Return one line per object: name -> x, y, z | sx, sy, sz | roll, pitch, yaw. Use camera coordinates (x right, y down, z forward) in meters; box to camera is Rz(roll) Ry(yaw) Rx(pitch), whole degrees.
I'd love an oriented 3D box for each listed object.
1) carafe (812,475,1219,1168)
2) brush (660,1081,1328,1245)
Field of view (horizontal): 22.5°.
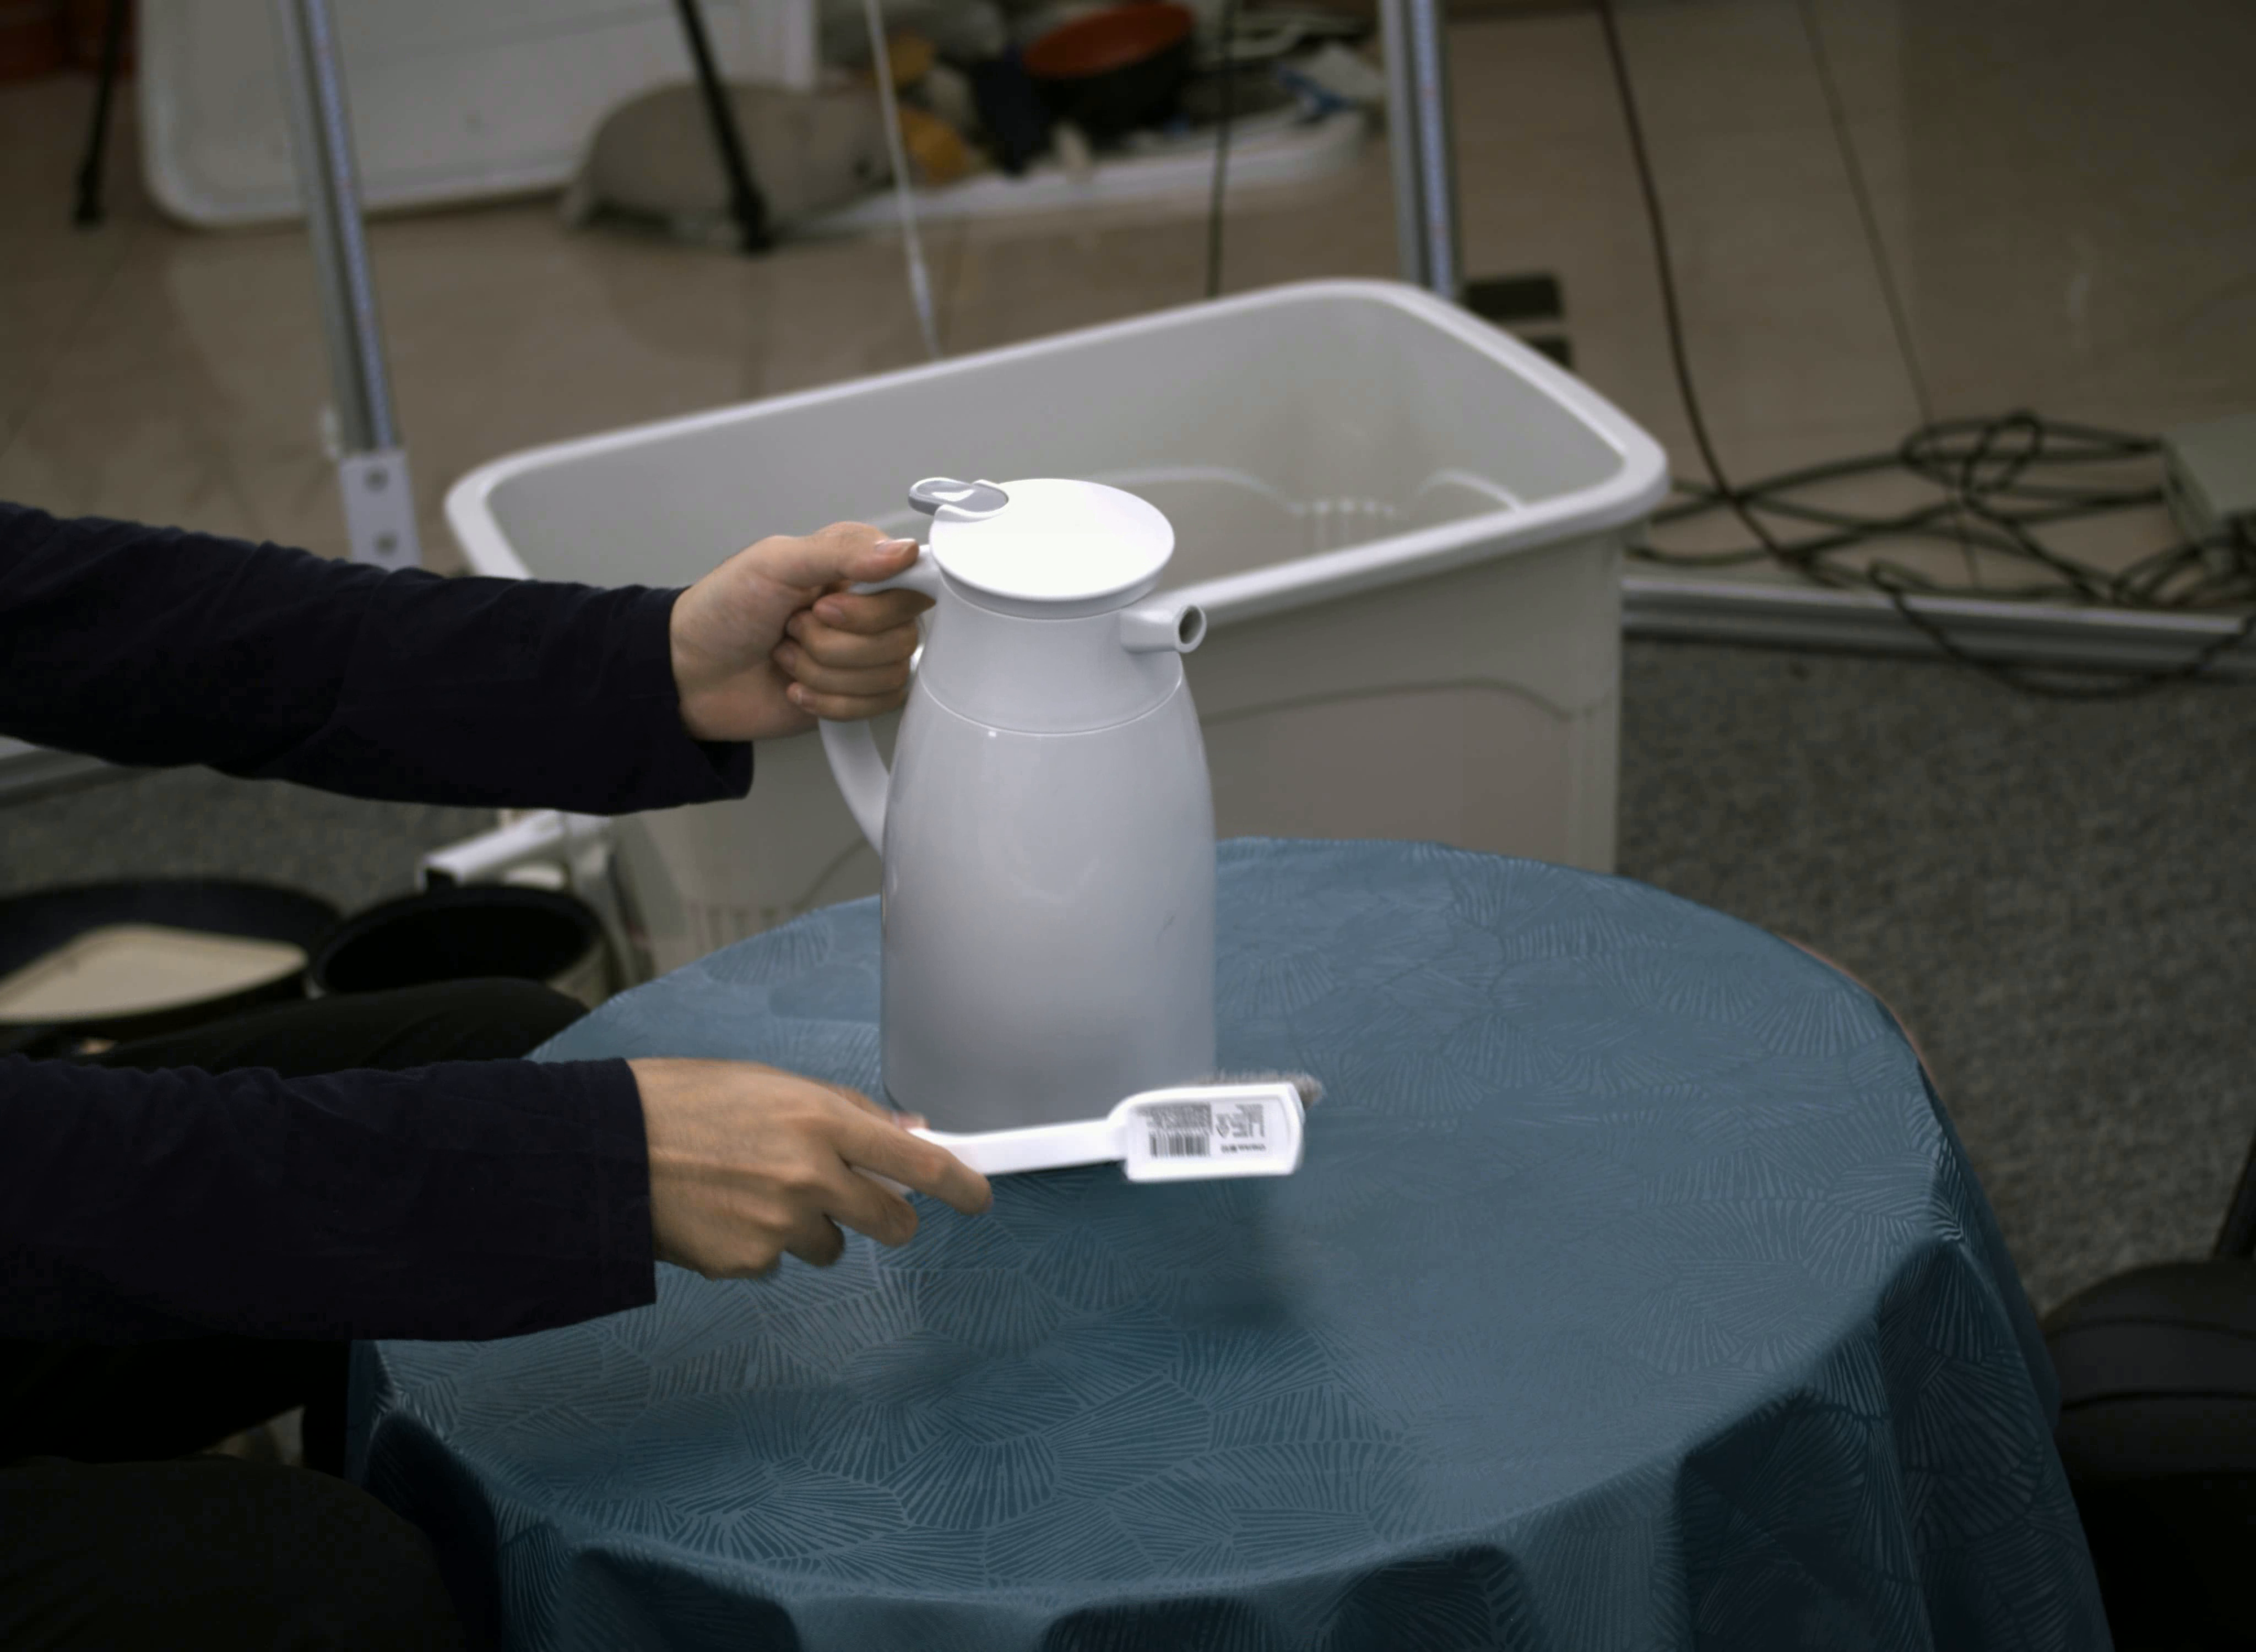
carafe -> -0.046, -0.013, 2.158 | 0.166, 0.253, 0.131 | 18, 37, 25
brush -> -0.048, 0.122, 2.043 | 0.243, 0.034, 0.050 | -8, 3, -5
